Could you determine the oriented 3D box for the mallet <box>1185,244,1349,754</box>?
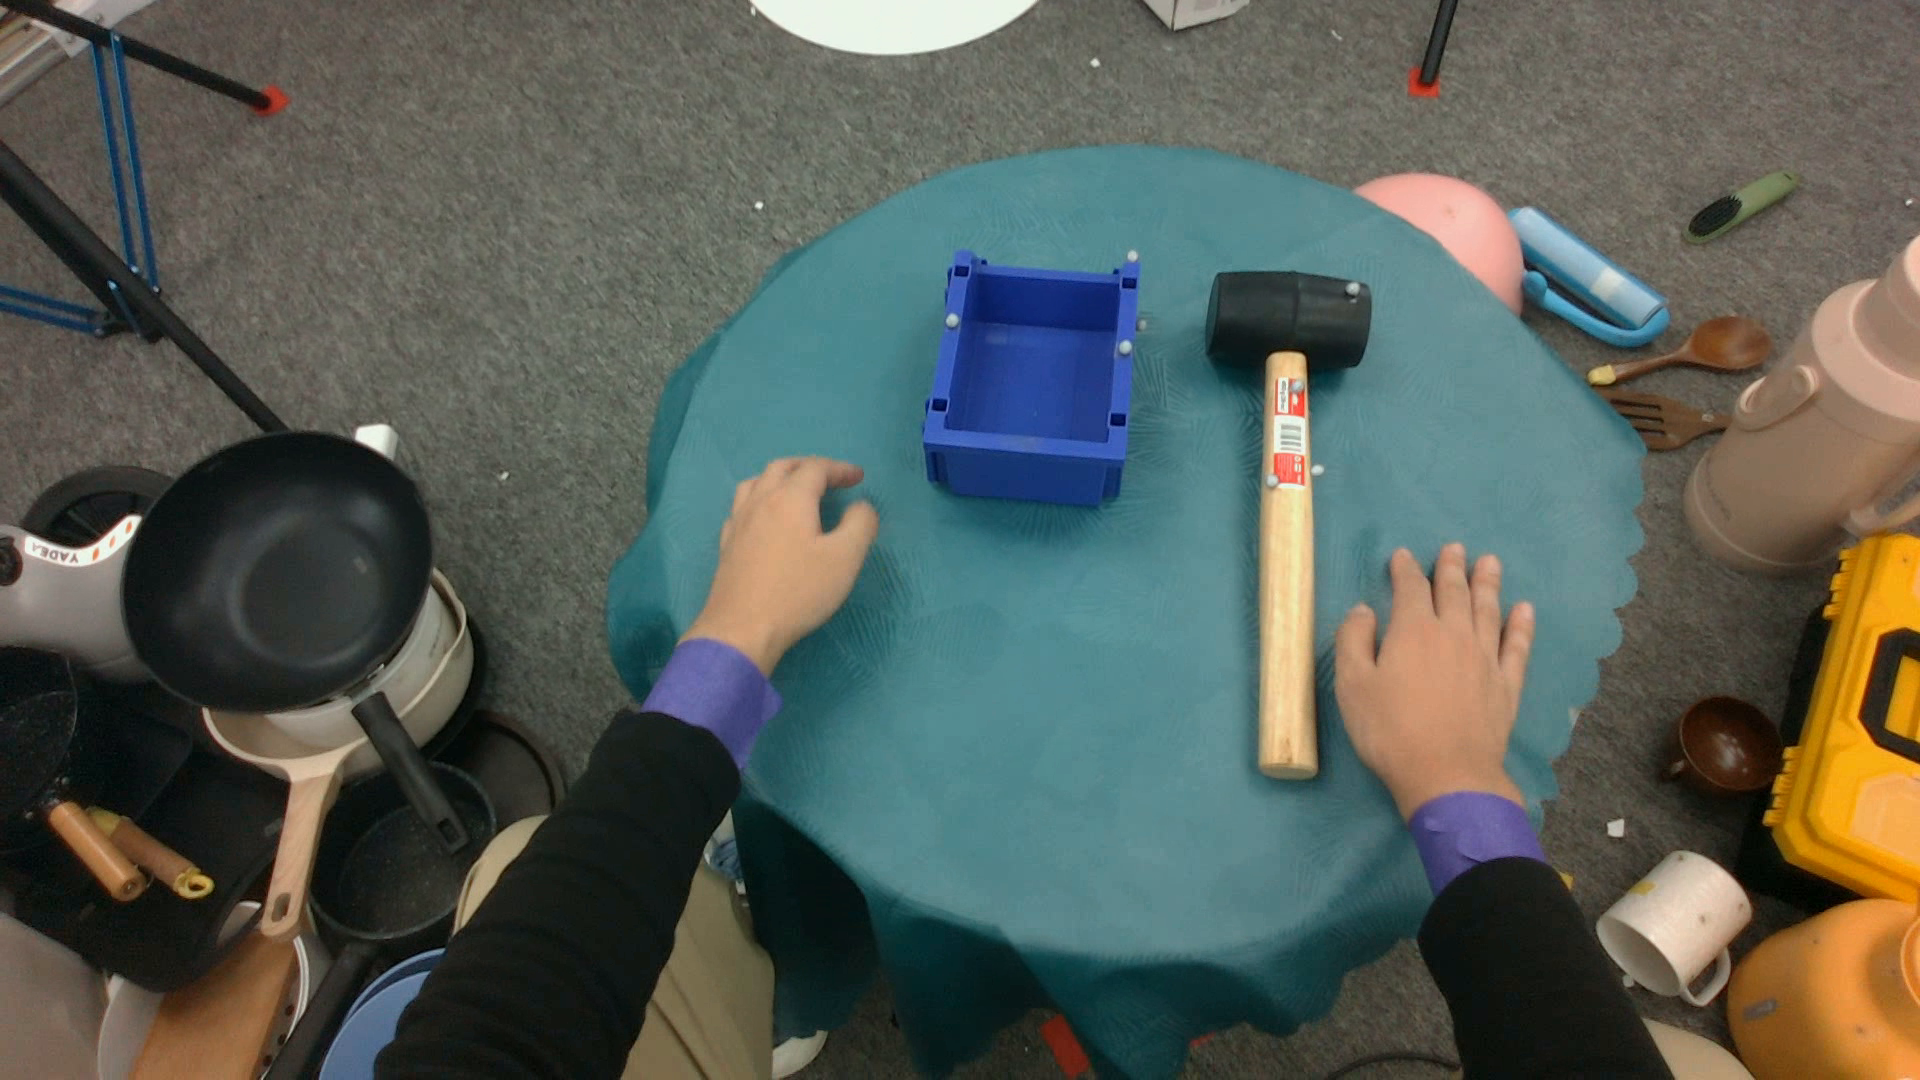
[{"bbox_3d":[0.187,-0.040,0.839,0.102,0.064,0.340,4,62,5],"label":"mallet"}]

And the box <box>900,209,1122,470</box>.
[{"bbox_3d":[0.035,-0.136,0.882,0.124,0.081,0.180,6,65,5],"label":"box"}]
